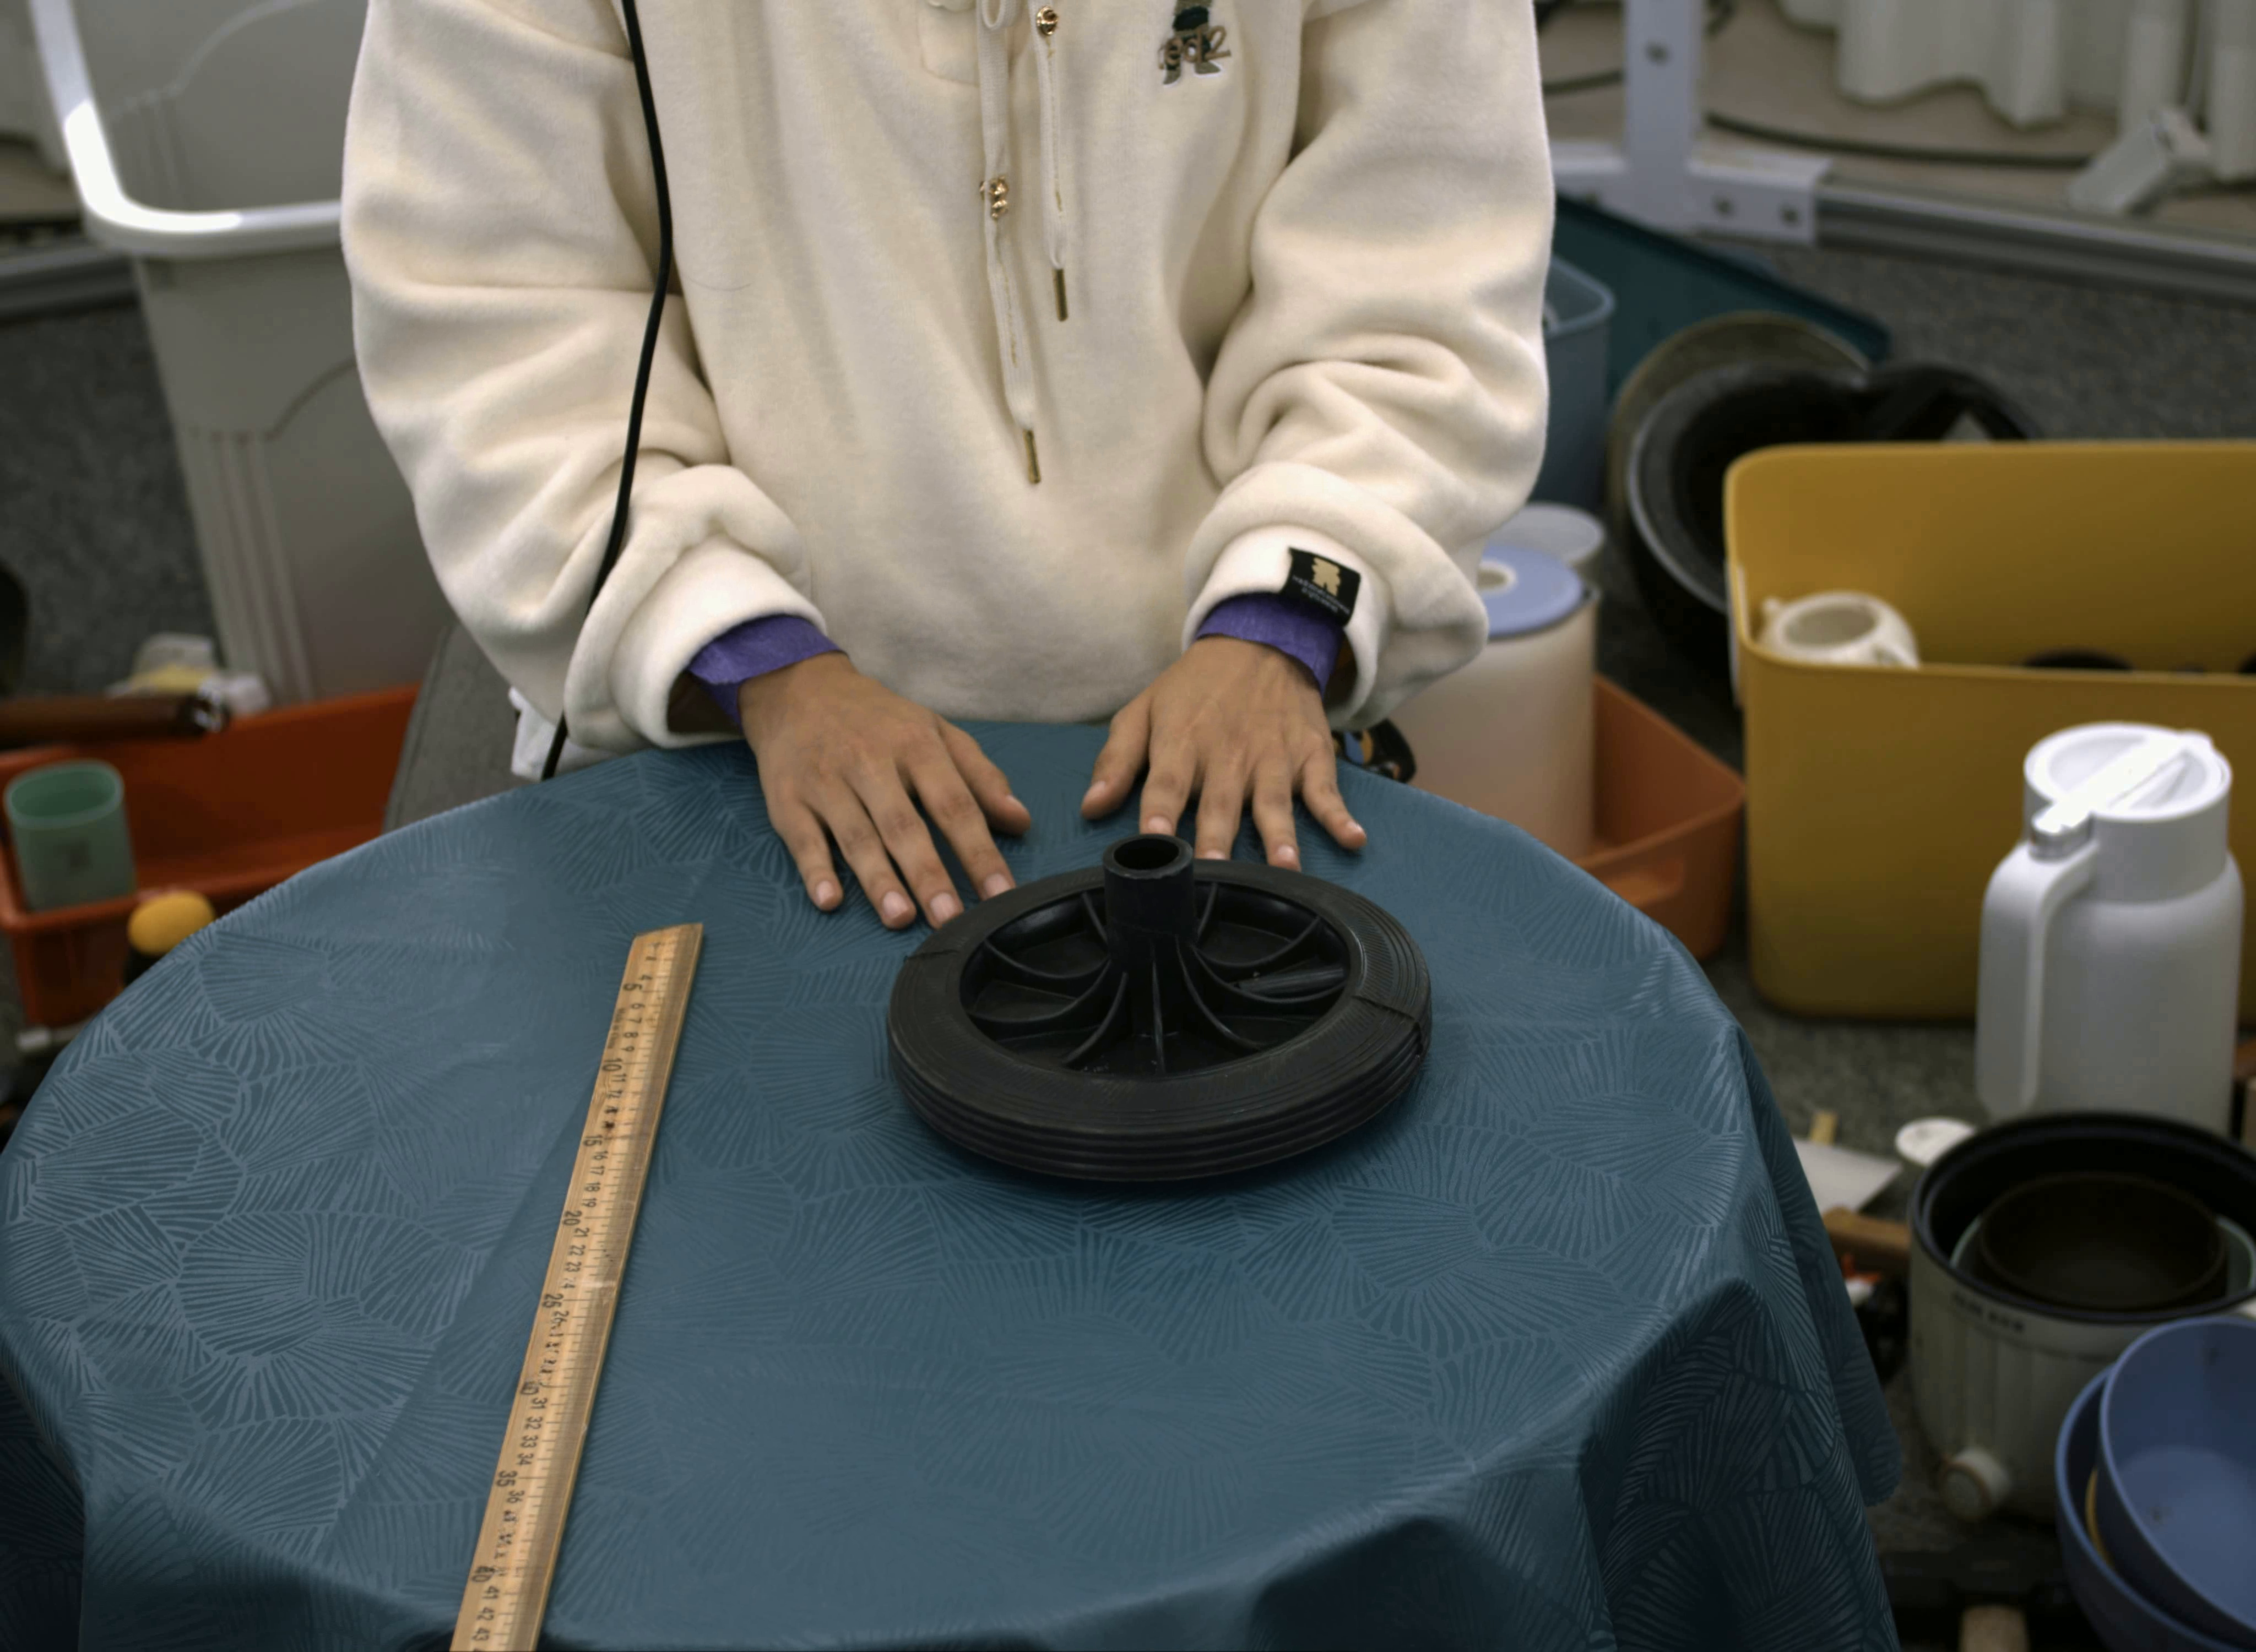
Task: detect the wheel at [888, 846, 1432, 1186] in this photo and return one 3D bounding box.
[{"bbox_3d":[0.010,0.048,1.920,0.191,0.078,0.188,-21,32,-29],"label":"wheel"}]

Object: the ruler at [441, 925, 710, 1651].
[{"bbox_3d":[-0.178,0.155,1.809,0.026,0.006,0.508,-2,27,5],"label":"ruler"}]
